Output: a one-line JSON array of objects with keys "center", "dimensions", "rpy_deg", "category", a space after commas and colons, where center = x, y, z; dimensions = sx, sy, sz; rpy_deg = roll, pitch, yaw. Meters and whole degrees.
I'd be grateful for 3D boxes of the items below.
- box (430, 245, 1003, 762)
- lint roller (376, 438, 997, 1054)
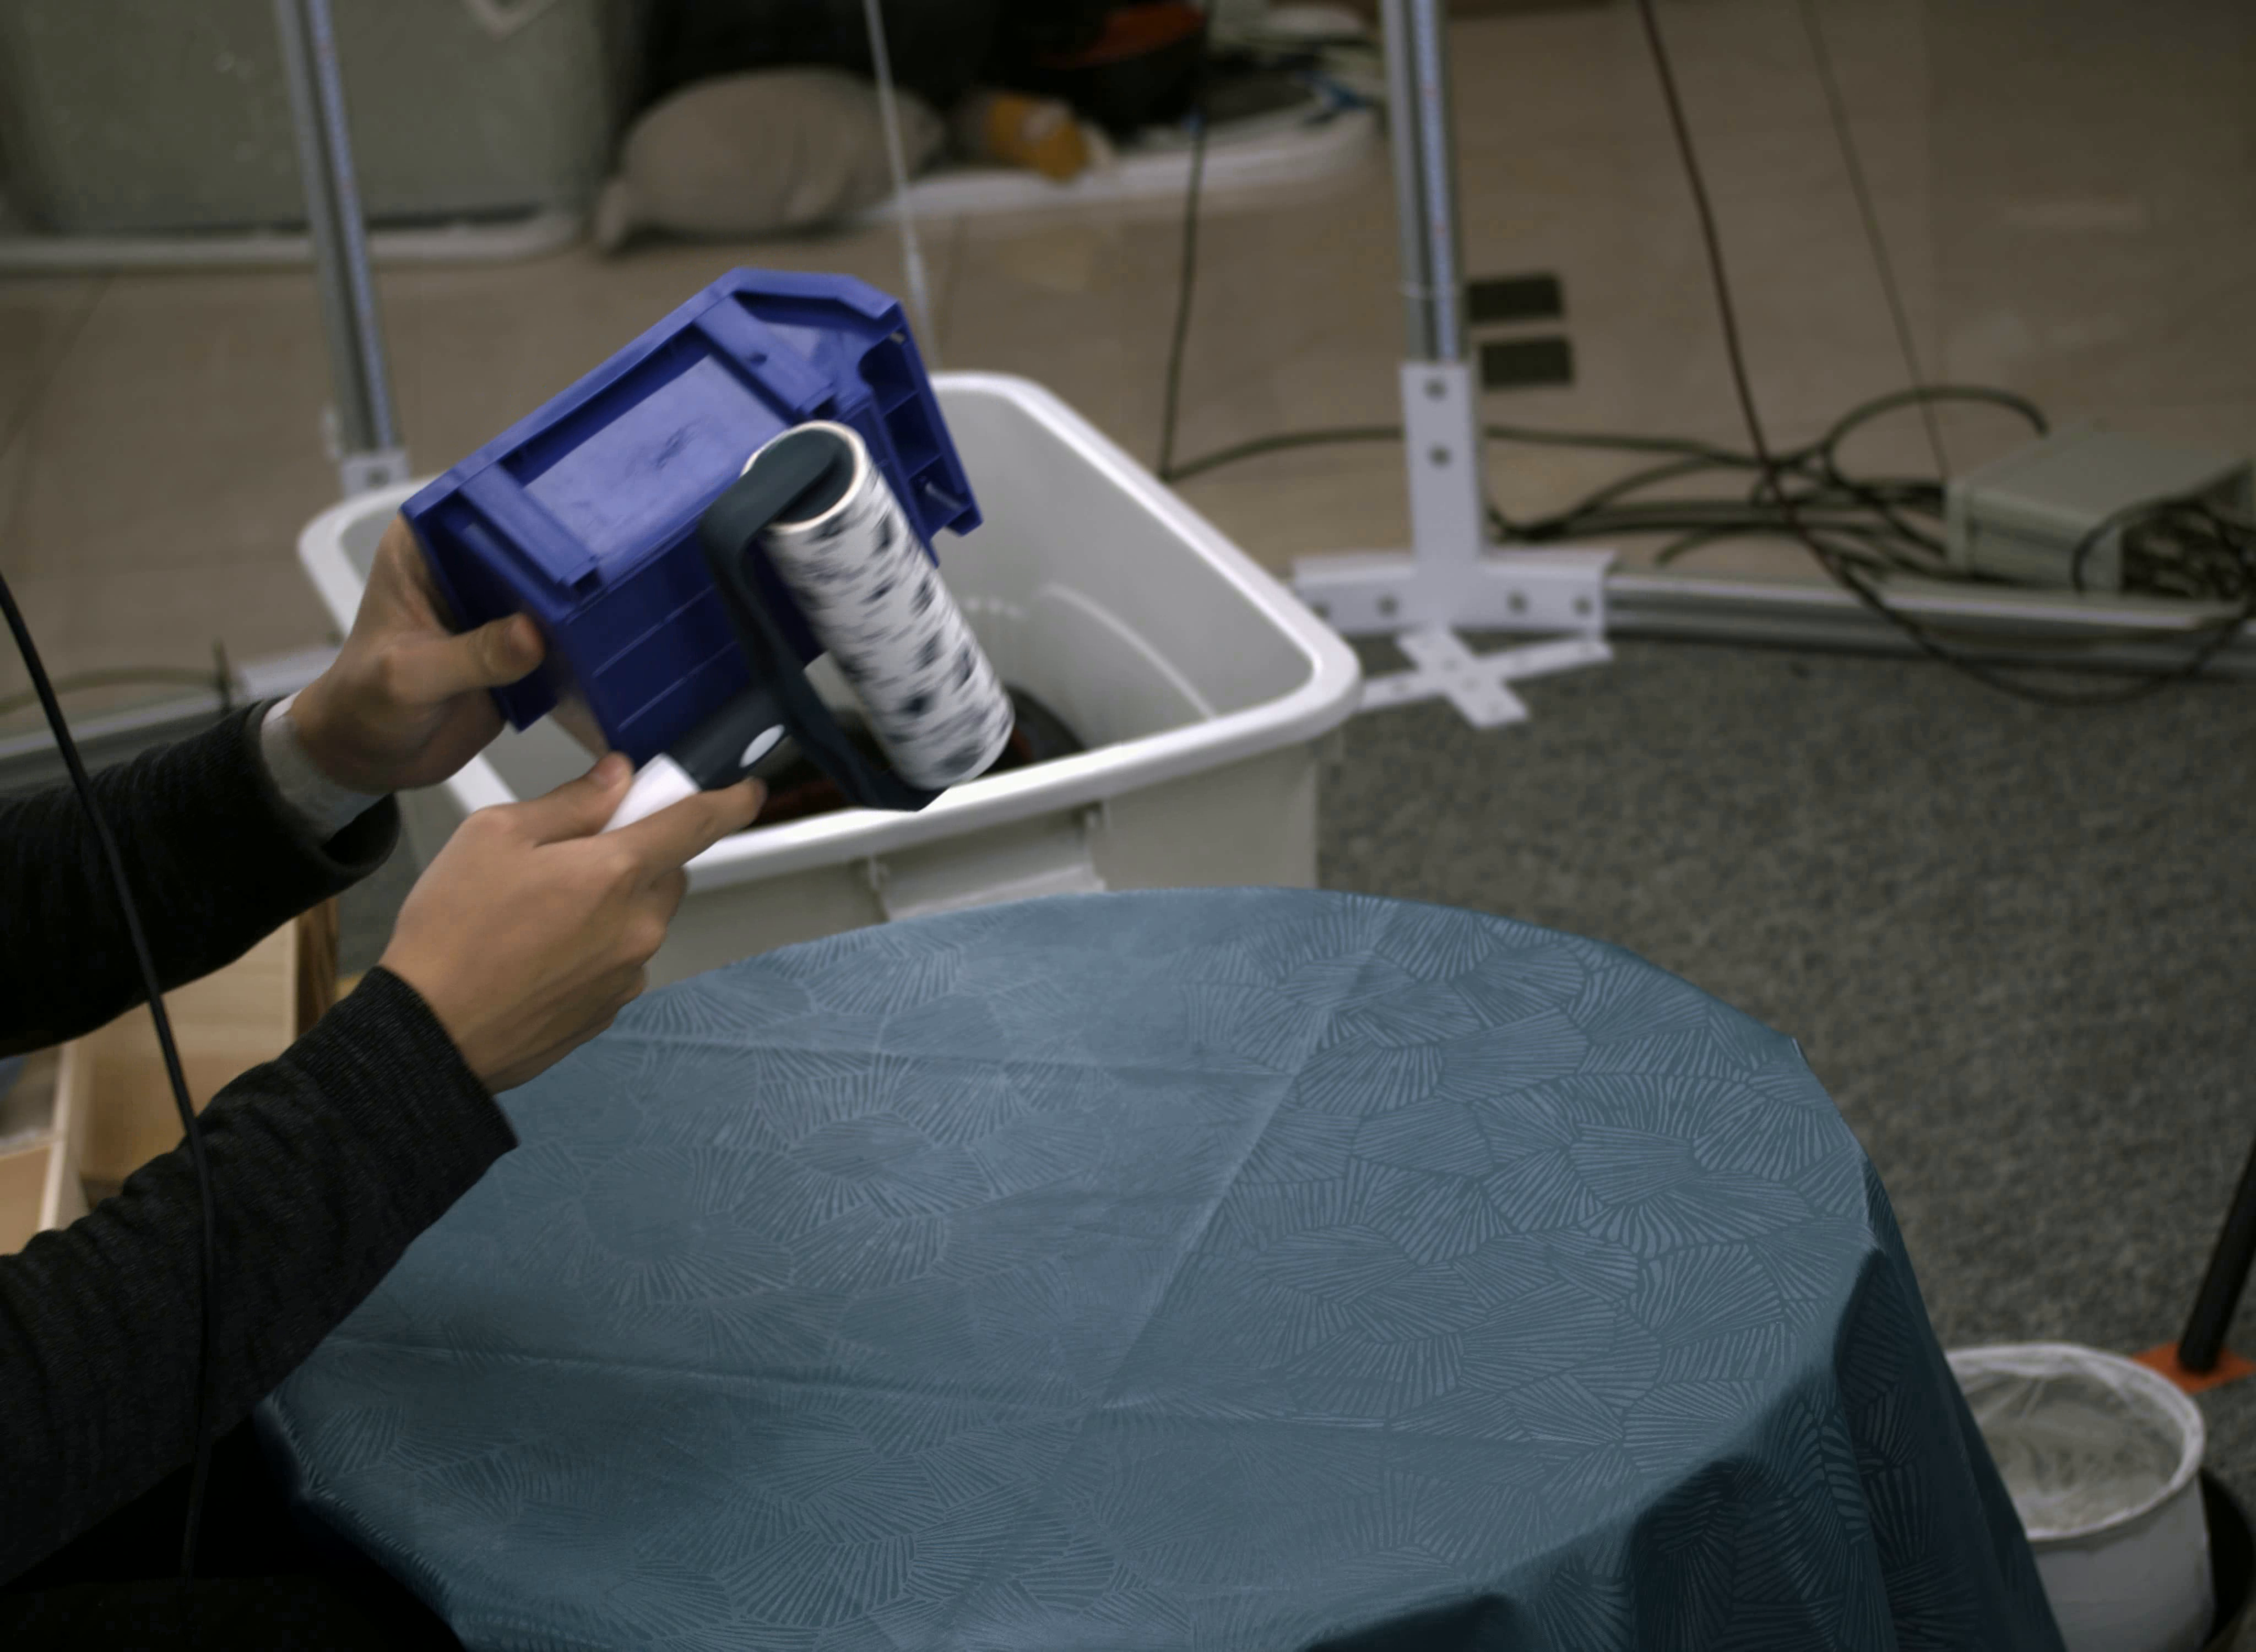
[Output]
[{"center": [-0.139, -0.114, 2.021], "dimensions": [0.178, 0.127, 0.081], "rpy_deg": [-40, 52, -14], "category": "box"}, {"center": [-0.162, -0.004, 1.983], "dimensions": [0.246, 0.179, 0.050], "rpy_deg": [-44, 54, -10], "category": "lint roller"}]
